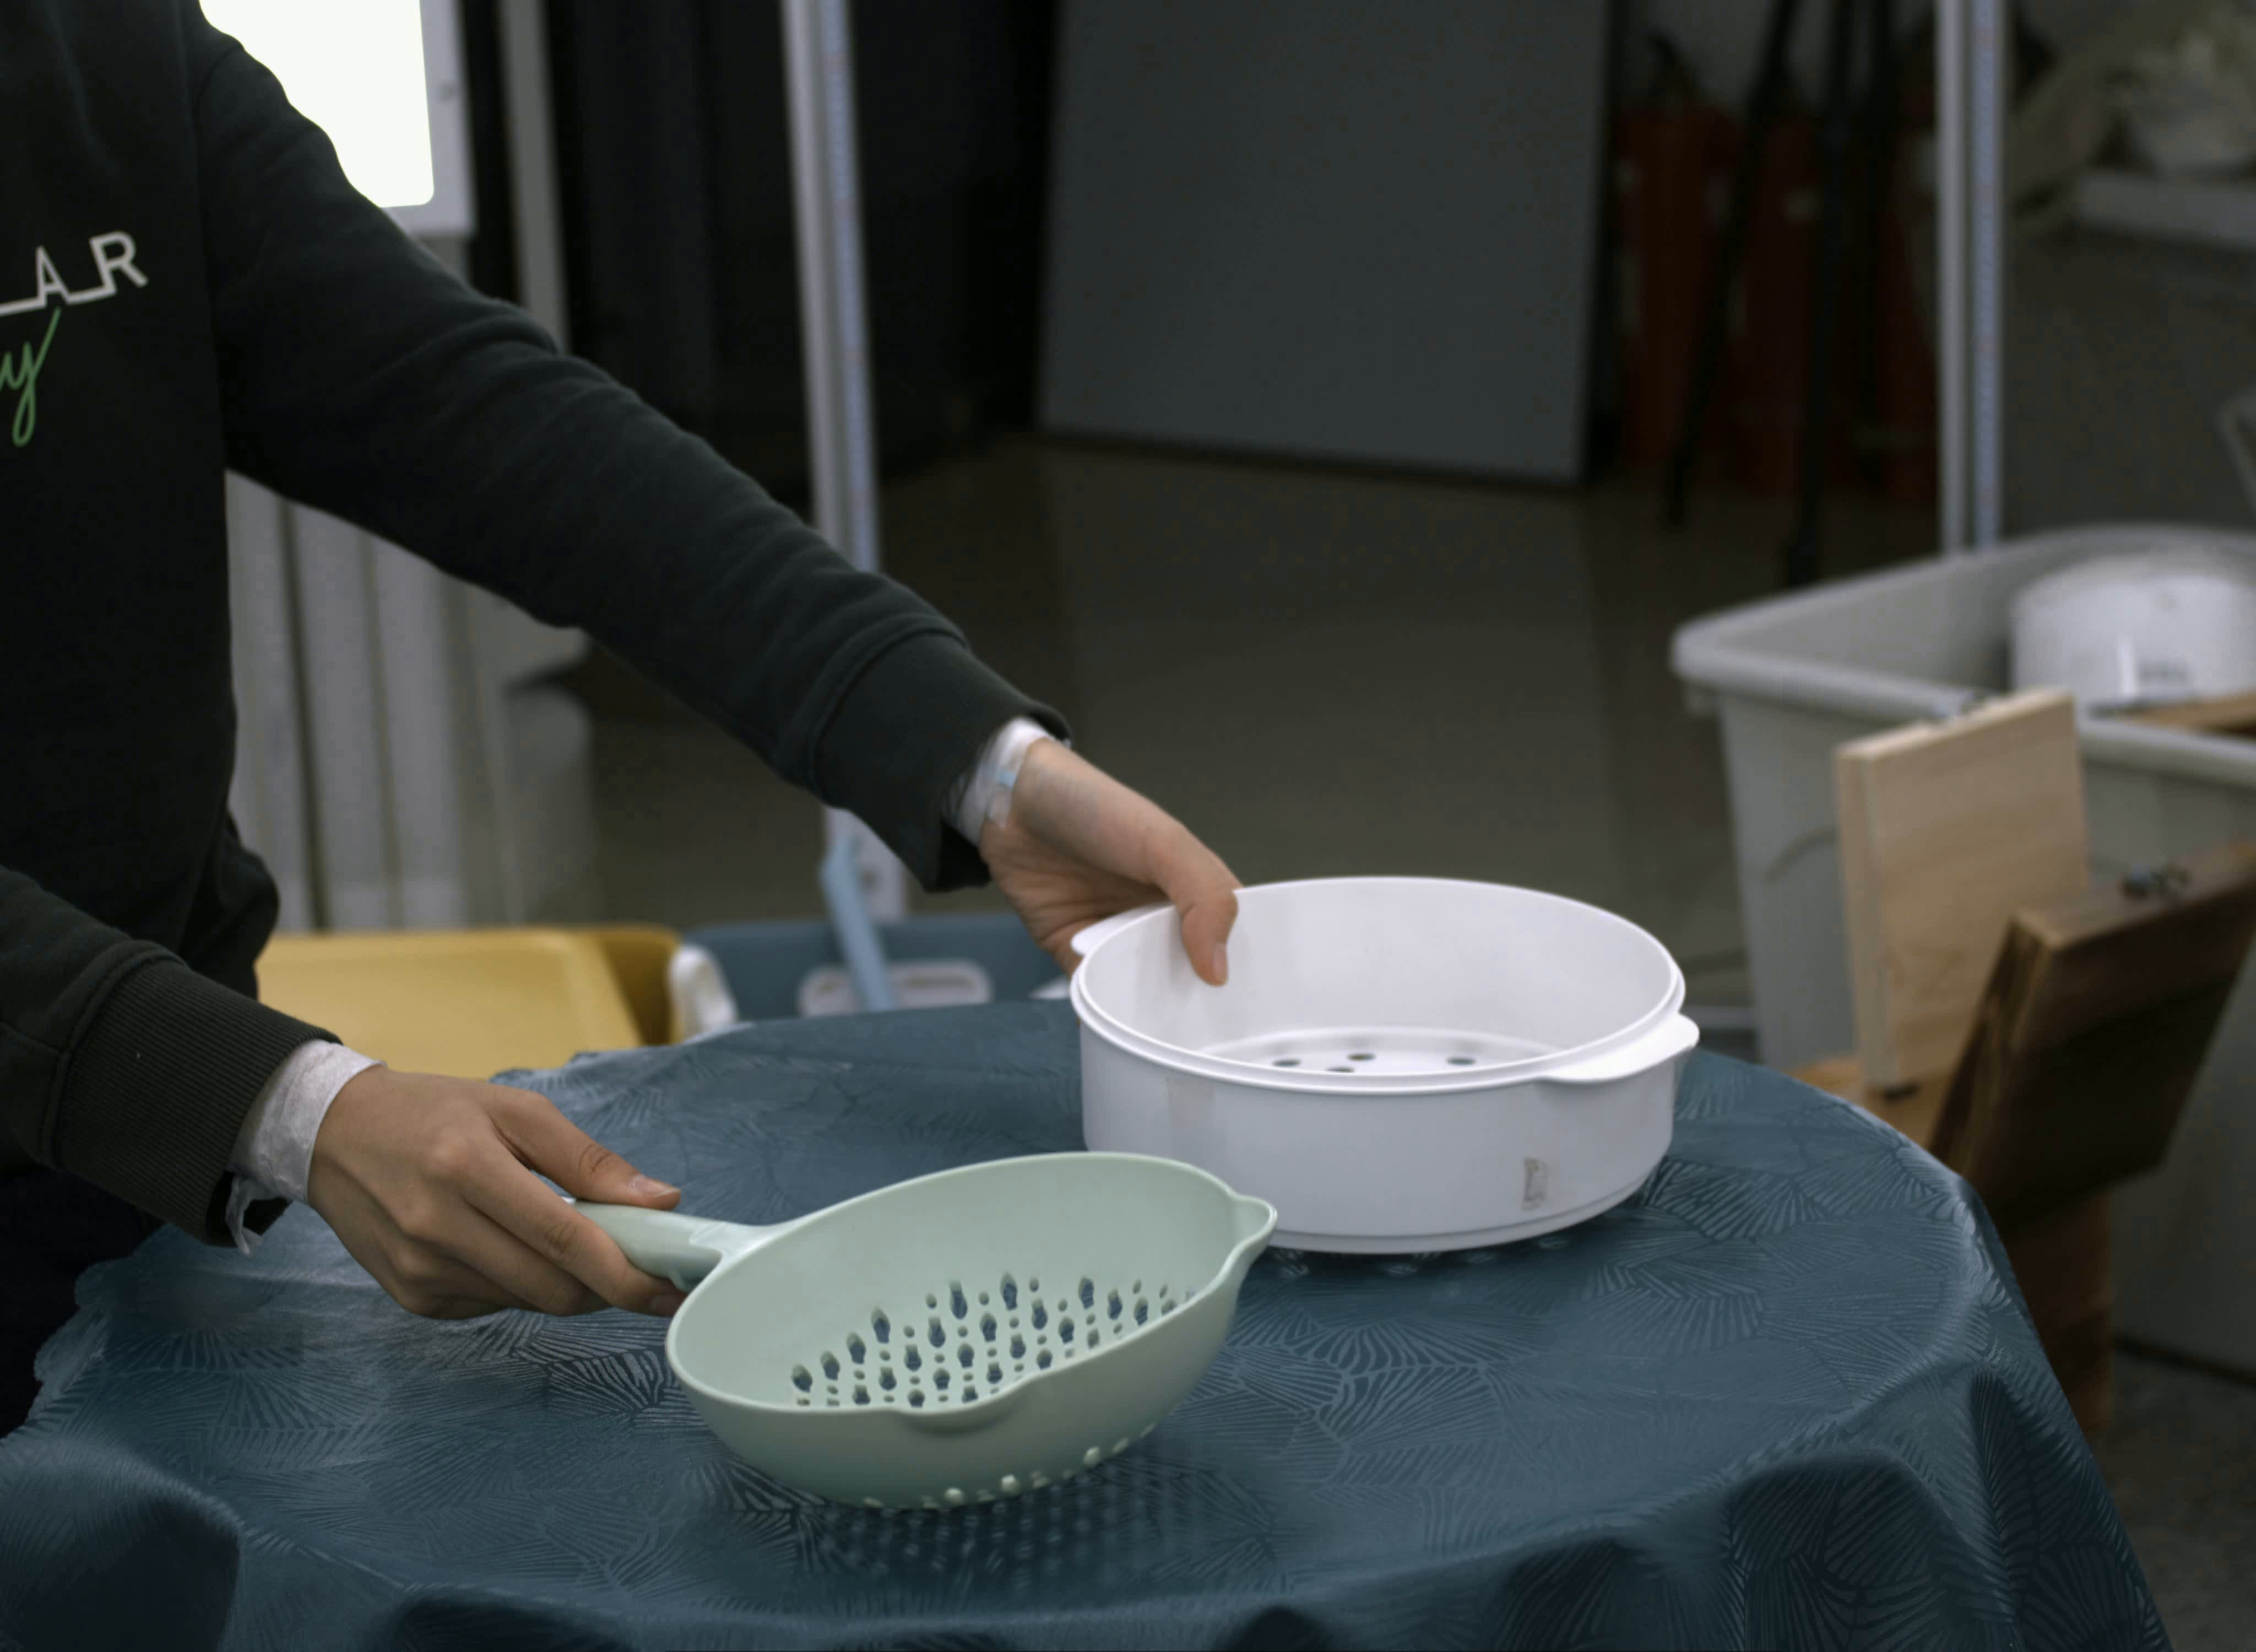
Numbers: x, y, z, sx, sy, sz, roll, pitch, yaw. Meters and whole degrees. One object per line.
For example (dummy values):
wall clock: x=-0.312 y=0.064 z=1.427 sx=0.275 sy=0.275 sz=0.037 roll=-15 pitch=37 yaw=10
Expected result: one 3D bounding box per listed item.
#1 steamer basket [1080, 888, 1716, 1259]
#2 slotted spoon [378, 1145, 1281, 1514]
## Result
steamer basket: x=0.085 y=0.080 z=1.746 sx=0.232 sy=0.070 sz=0.198 roll=12 pitch=21 yaw=39
slotted spoon: x=-0.112 y=0.132 z=1.585 sx=0.362 sy=0.076 sz=0.166 roll=14 pitch=31 yaw=43
